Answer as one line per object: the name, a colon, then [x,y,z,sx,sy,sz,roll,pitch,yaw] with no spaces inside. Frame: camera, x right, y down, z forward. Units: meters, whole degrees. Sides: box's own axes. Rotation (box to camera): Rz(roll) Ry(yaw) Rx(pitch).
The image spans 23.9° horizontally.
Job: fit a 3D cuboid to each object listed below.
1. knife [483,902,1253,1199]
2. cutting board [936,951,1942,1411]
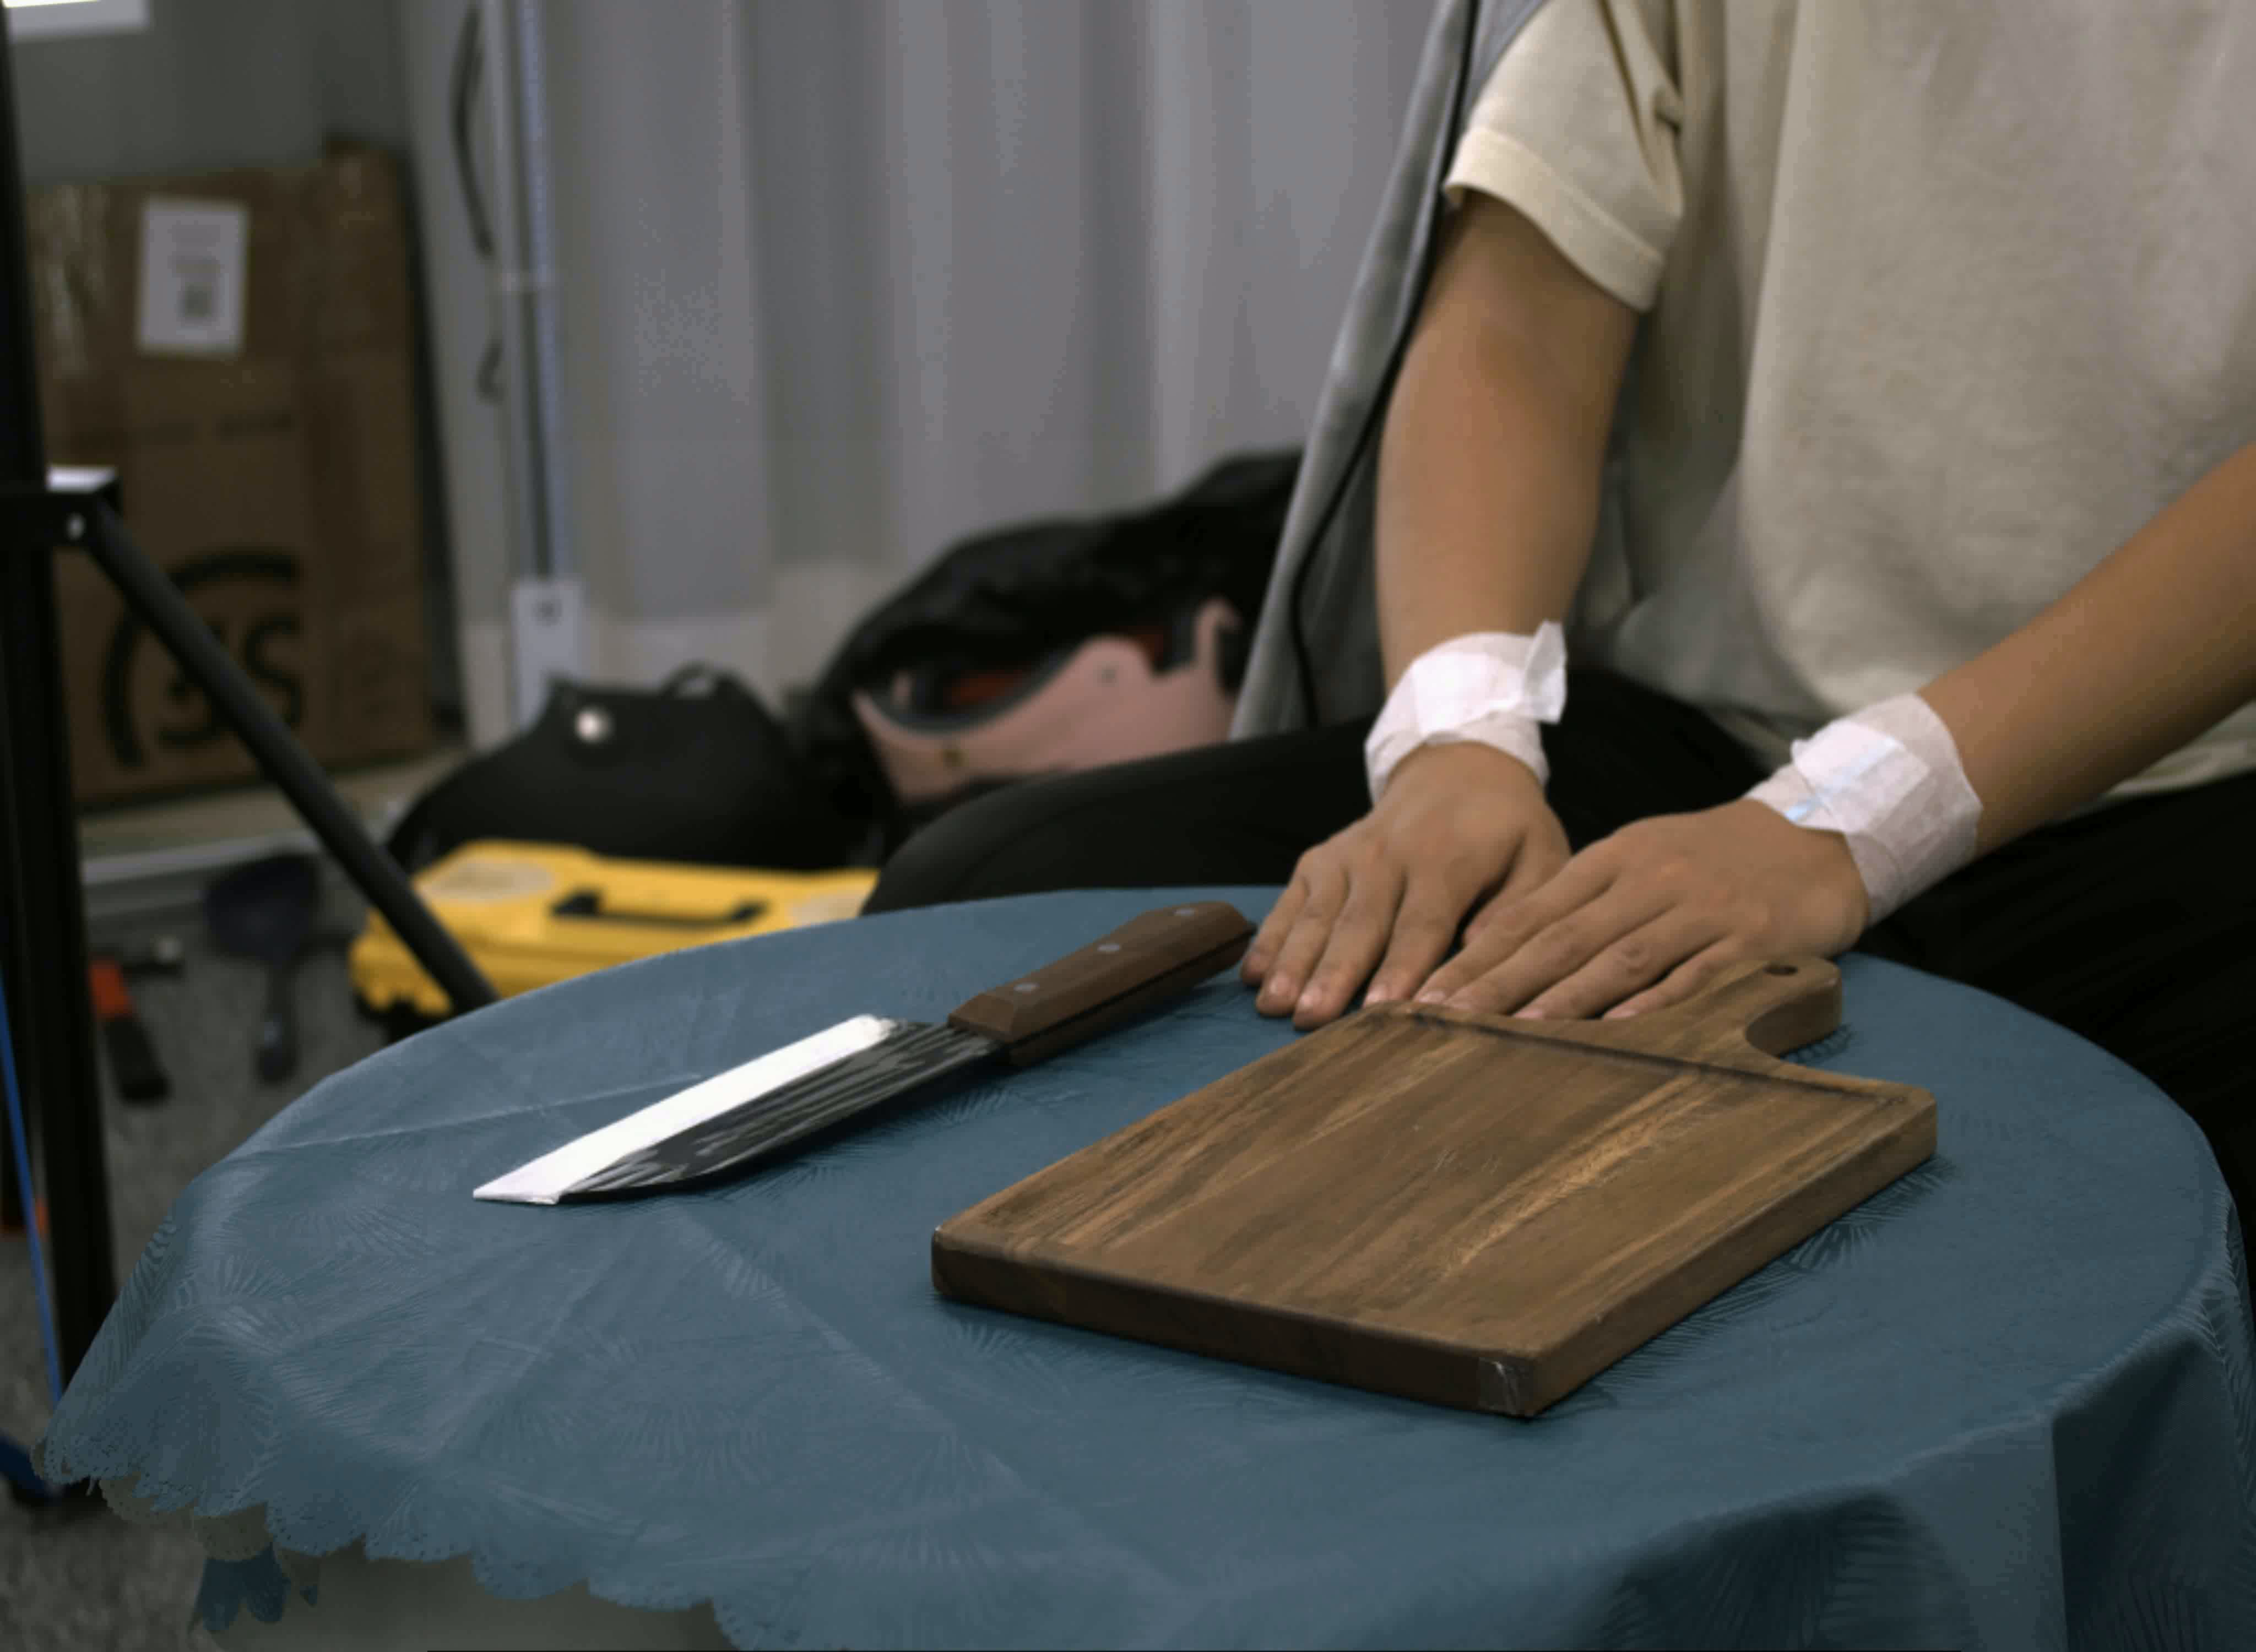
knife: [-0.076,0.072,1.663,0.069,0.024,0.293,9,22,42]
cutting board: [0.121,0.092,1.555,0.205,0.023,0.345,8,18,34]
